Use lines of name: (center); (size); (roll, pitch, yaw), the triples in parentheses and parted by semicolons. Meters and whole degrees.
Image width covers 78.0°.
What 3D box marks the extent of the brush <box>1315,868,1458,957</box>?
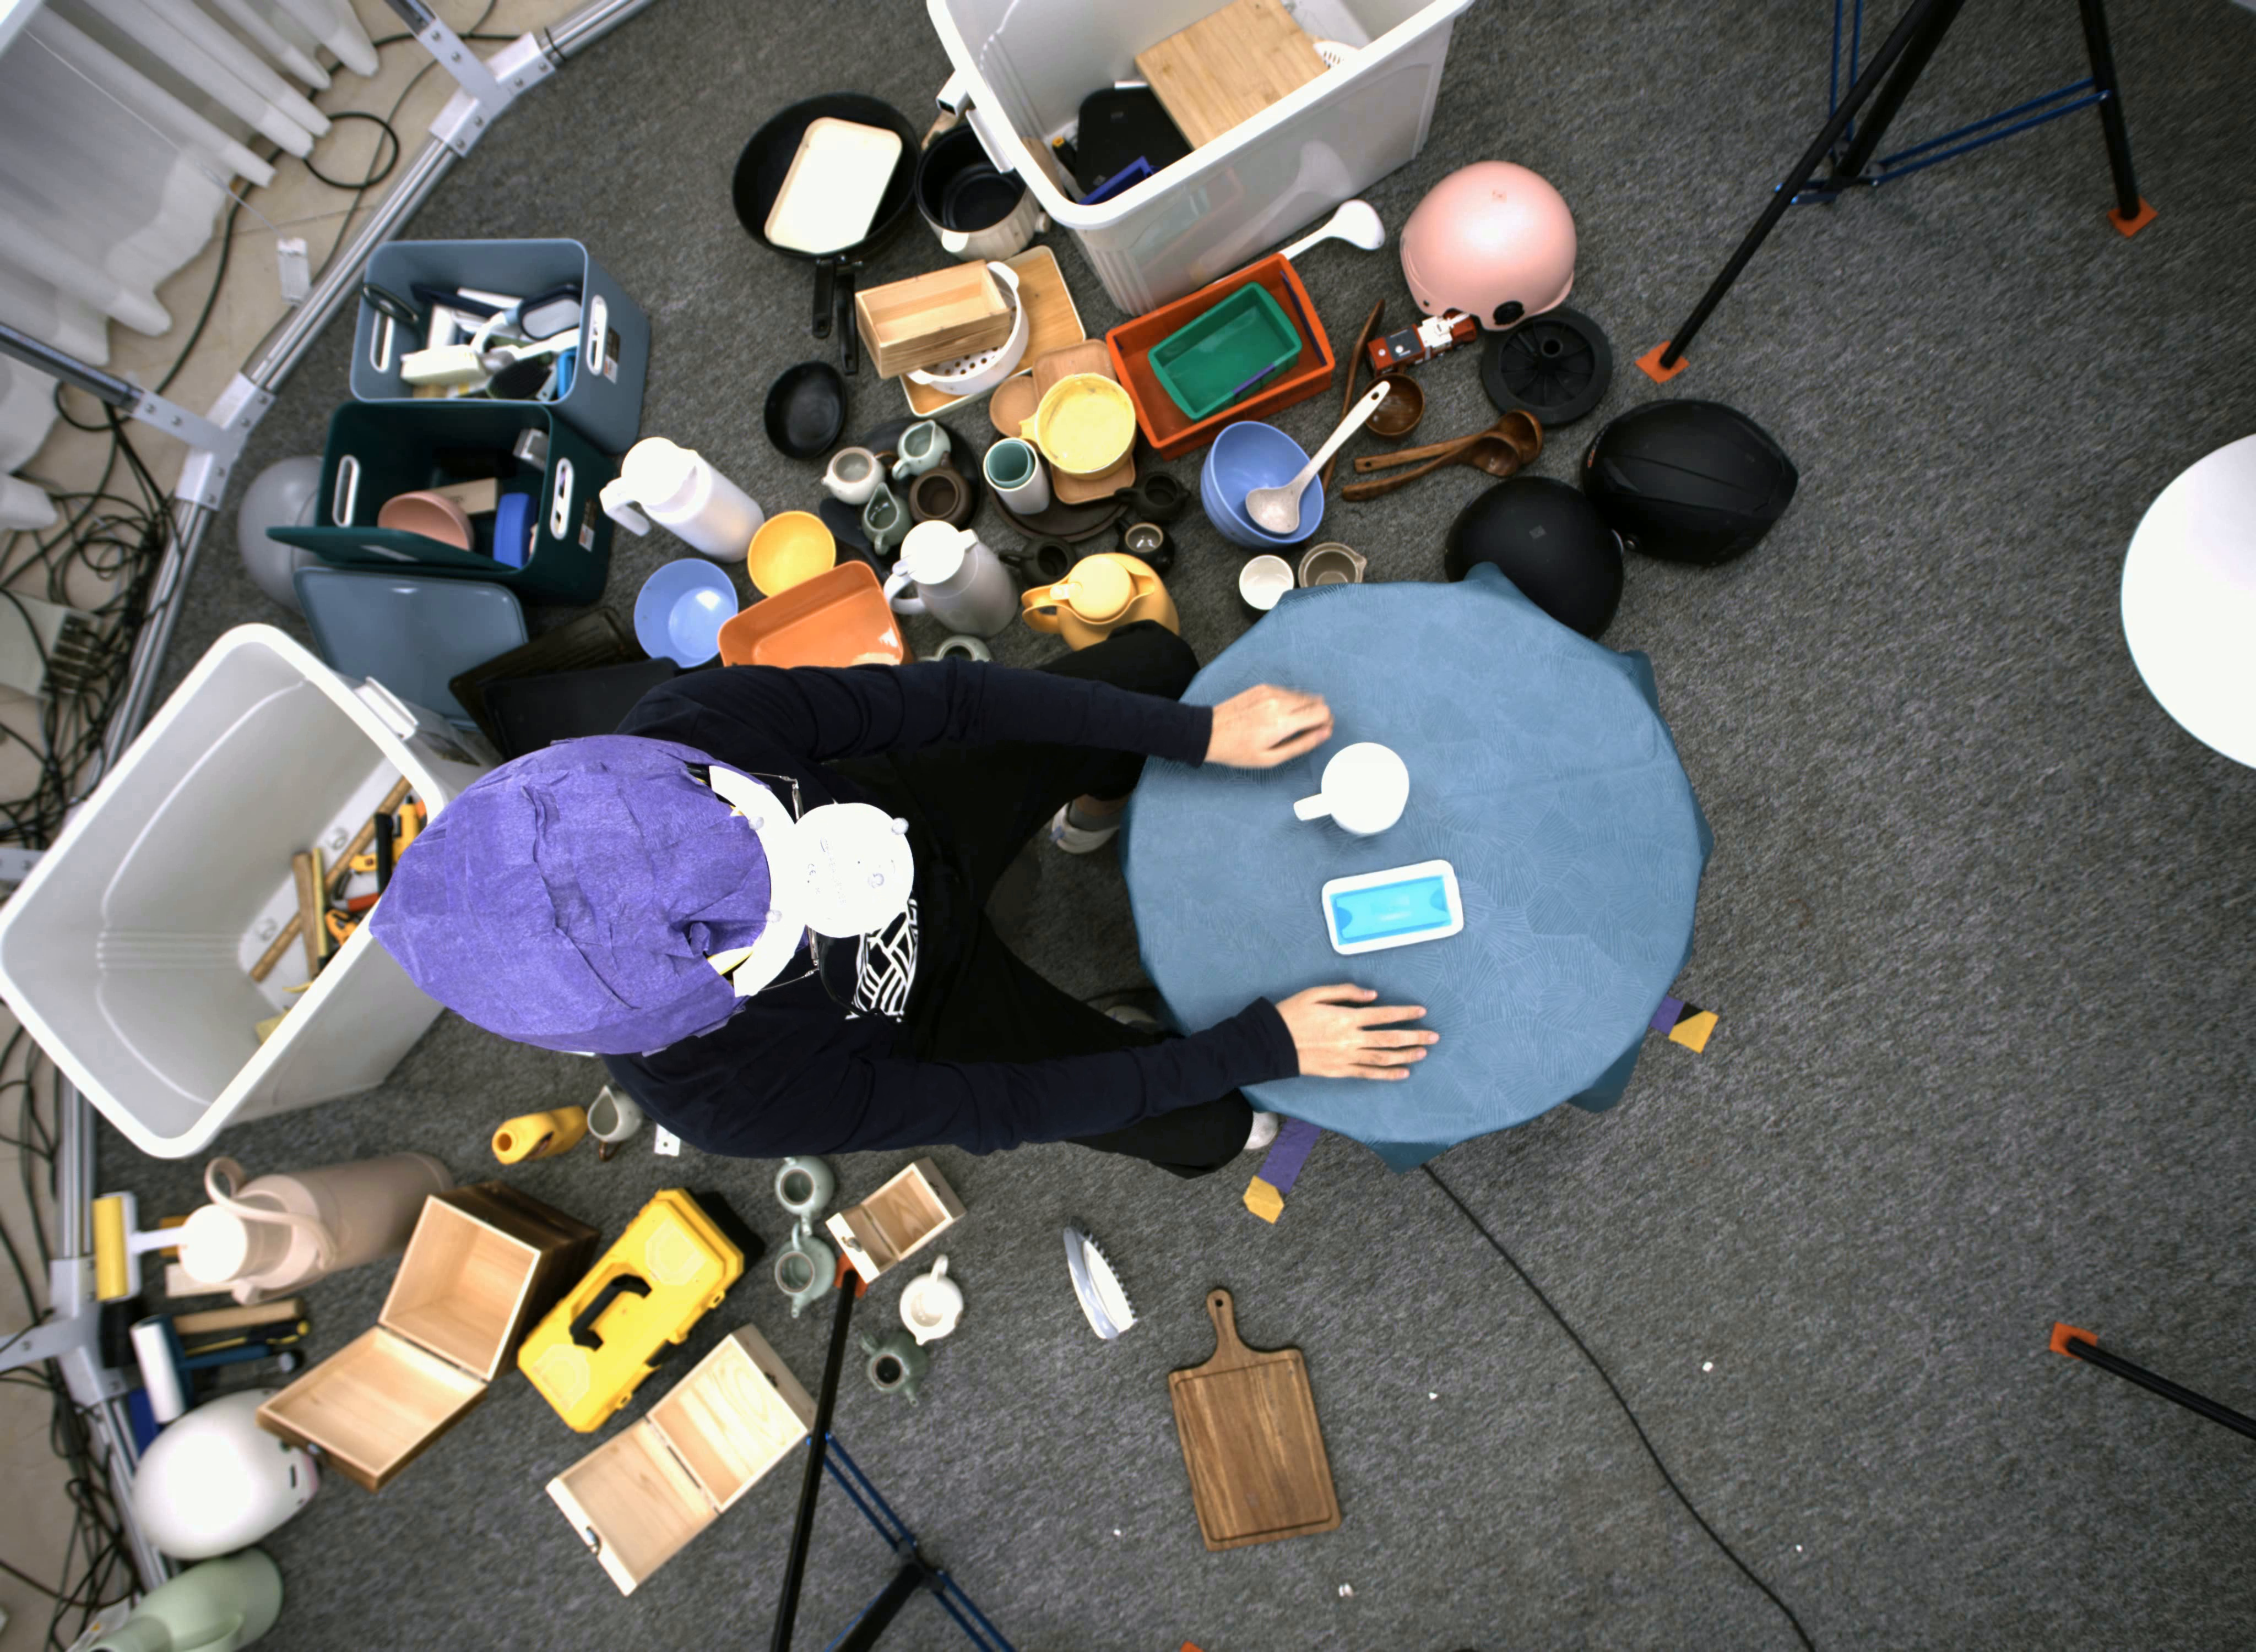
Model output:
brush: (0.267, 0.085, 1.428); (0.144, 0.056, 0.083); (-8, 82, 7)

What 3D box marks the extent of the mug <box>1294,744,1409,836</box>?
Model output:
mug: (0.230, -0.031, 1.421); (0.119, 0.102, 0.084); (-21, 82, 9)
